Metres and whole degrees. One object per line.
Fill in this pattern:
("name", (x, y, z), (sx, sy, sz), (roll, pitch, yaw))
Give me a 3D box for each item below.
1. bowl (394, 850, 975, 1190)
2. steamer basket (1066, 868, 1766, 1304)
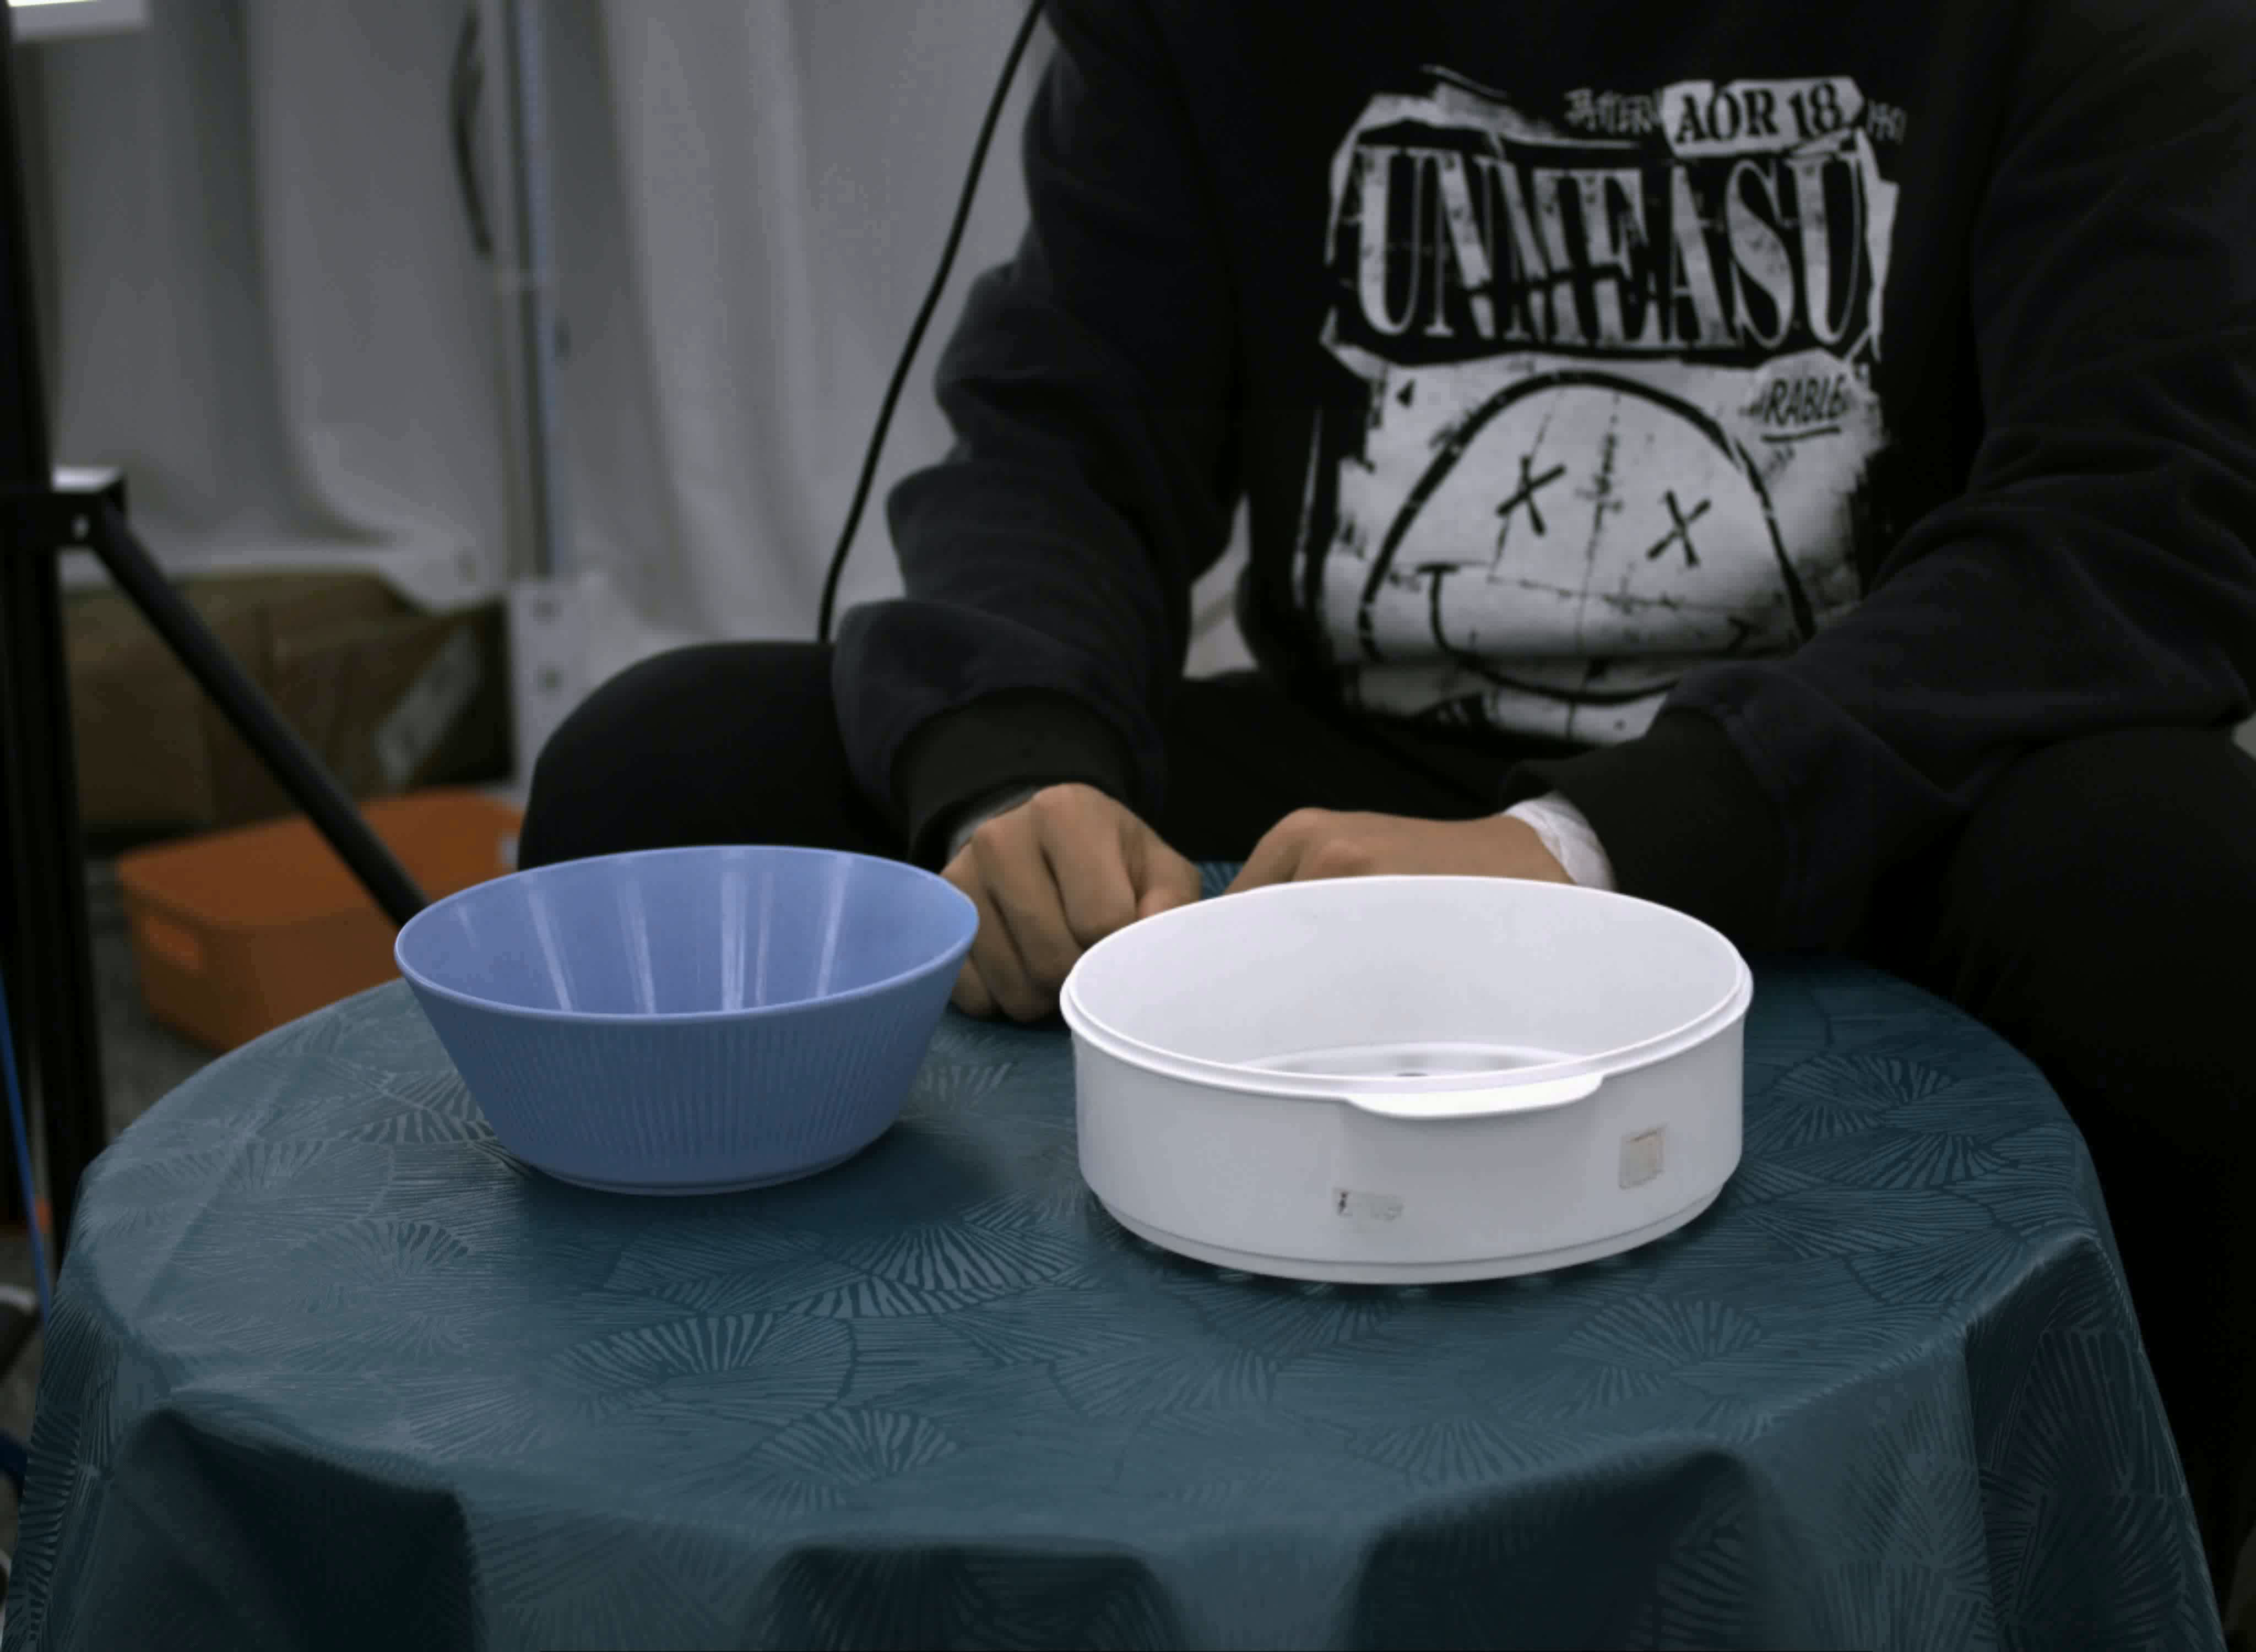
("bowl", (-0.133, 0.061, 1.617), (0.175, 0.070, 0.177), (-2, 16, -1))
("steamer basket", (0.084, 0.075, 1.535), (0.200, 0.069, 0.233), (-5, 18, -7))
